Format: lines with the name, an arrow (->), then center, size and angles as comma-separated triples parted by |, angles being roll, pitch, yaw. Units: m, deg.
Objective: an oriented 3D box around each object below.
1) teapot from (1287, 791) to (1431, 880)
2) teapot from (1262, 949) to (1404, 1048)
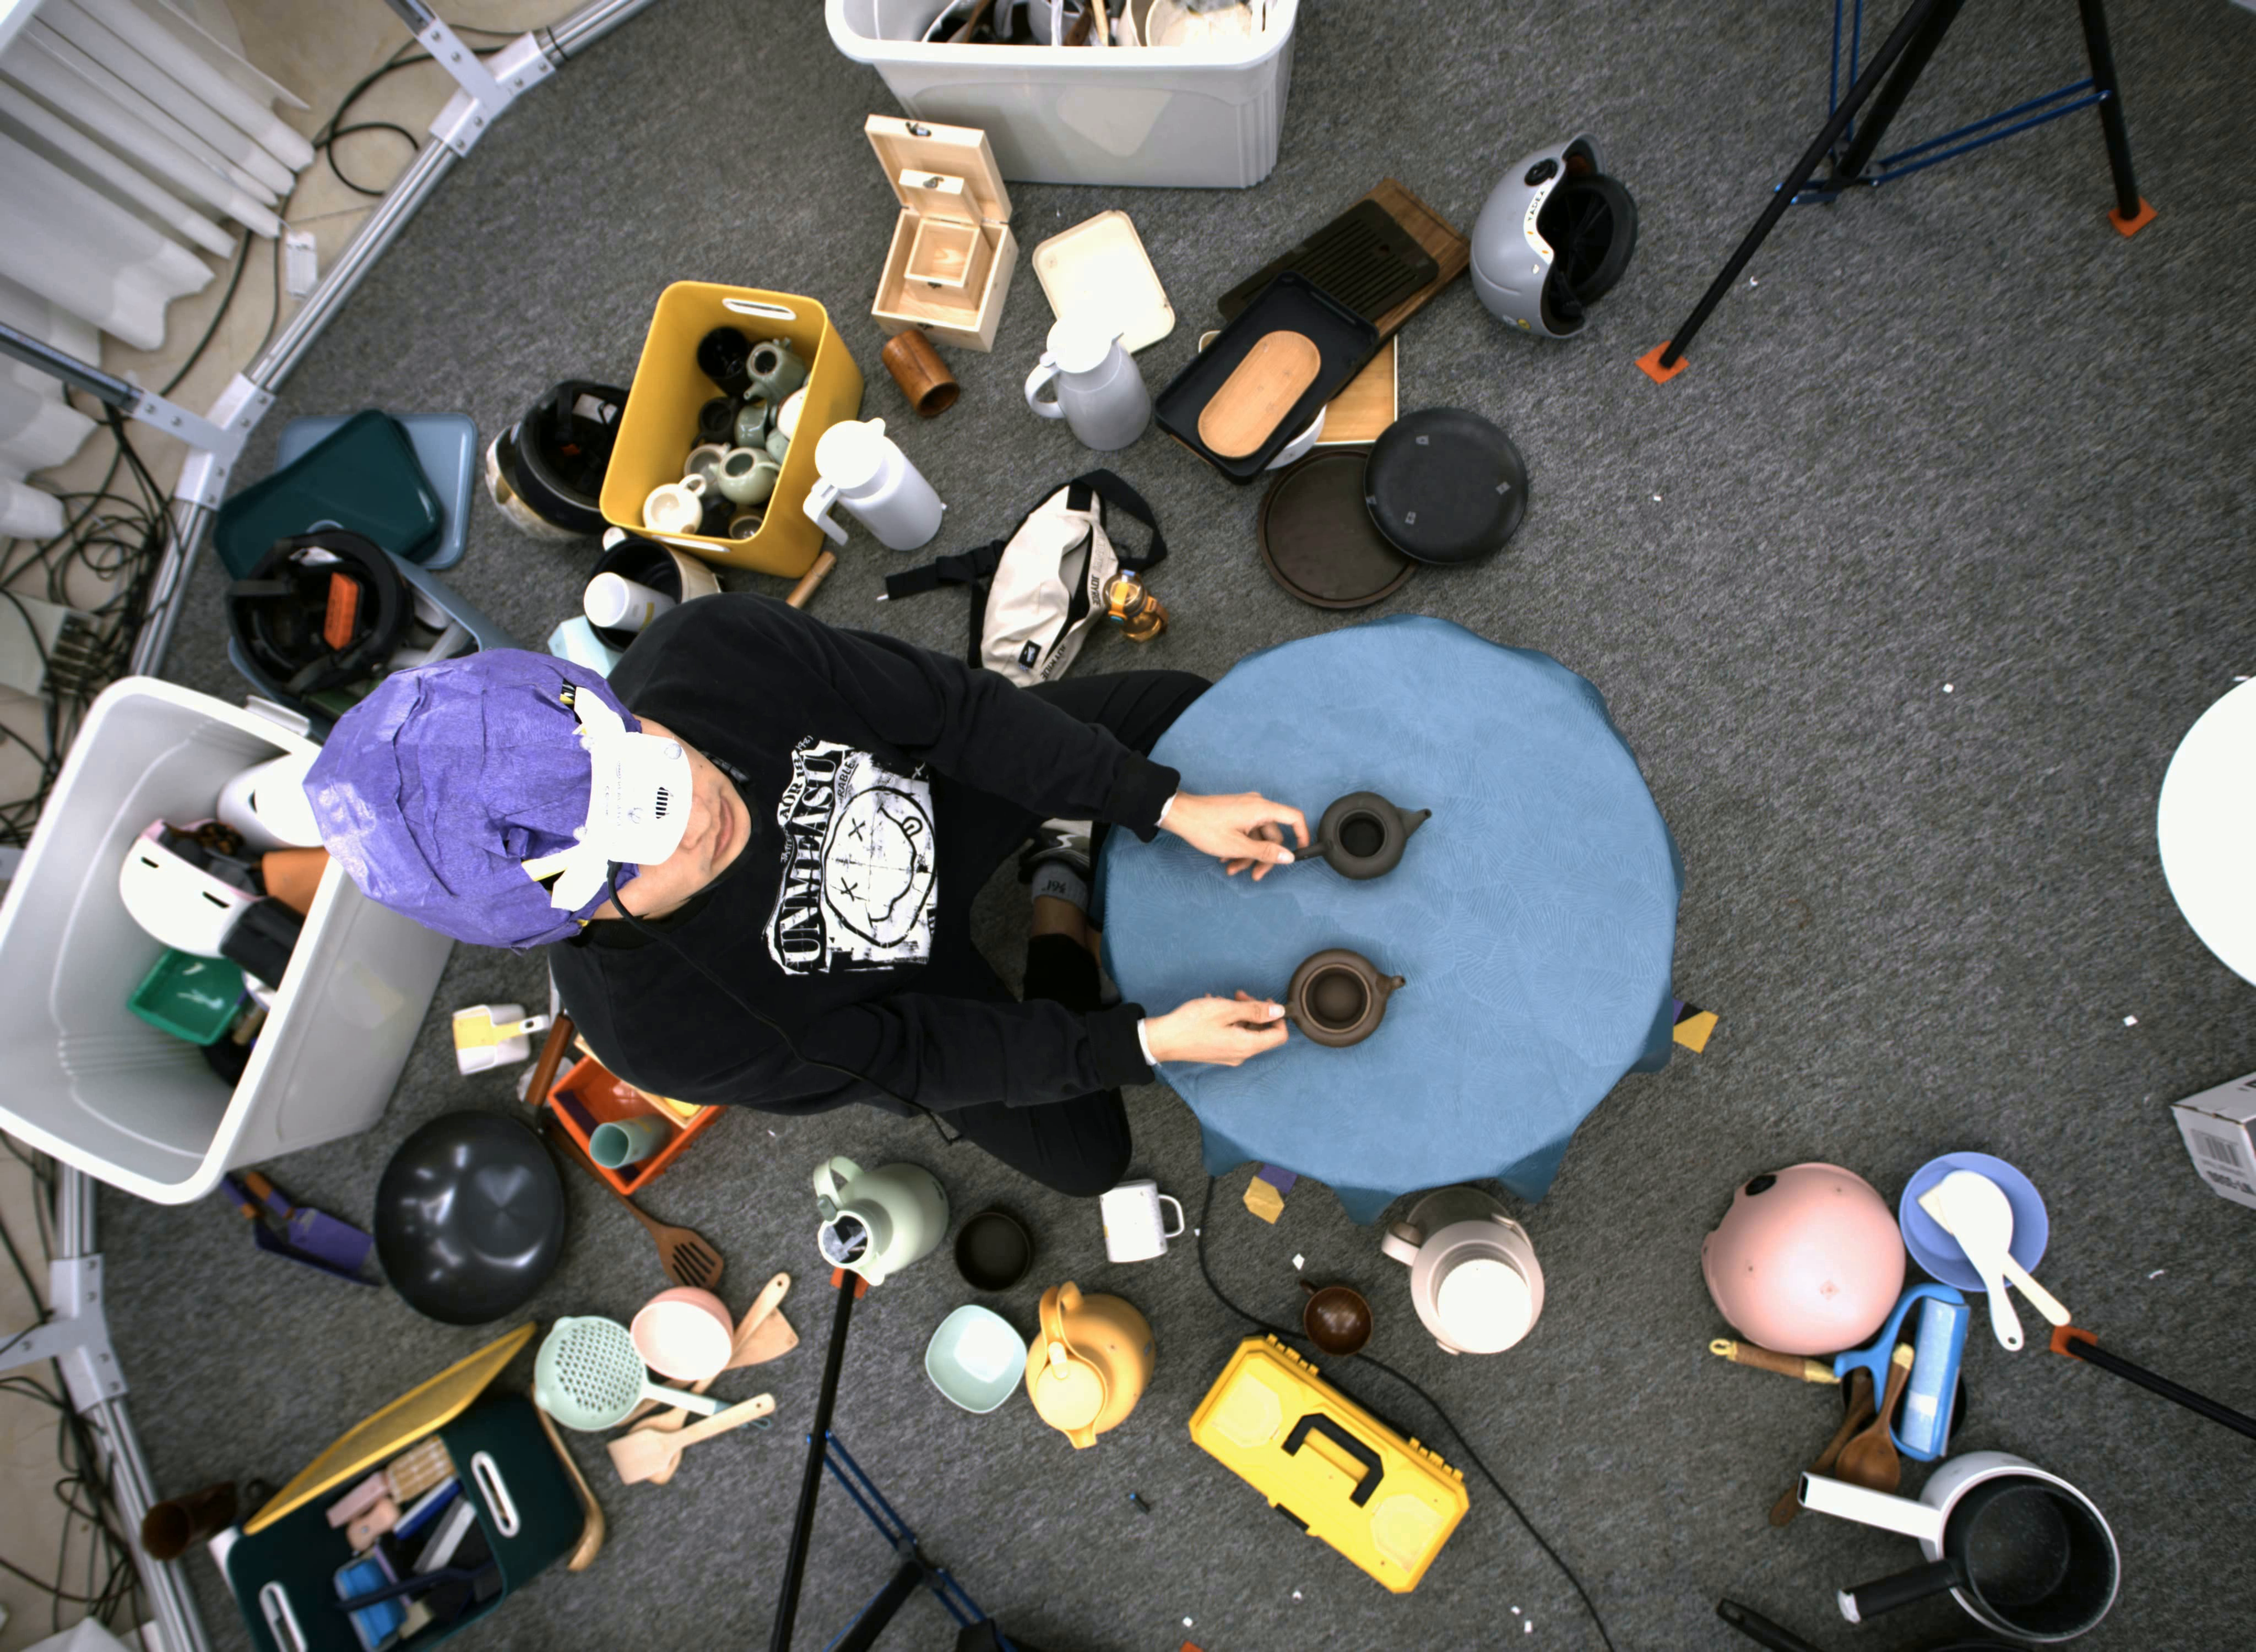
teapot -> 0.241, 0.010, 1.438 | 0.155, 0.064, 0.091 | -17, 82, 9
teapot -> 0.213, 0.179, 1.439 | 0.154, 0.054, 0.102 | -22, 81, 8
